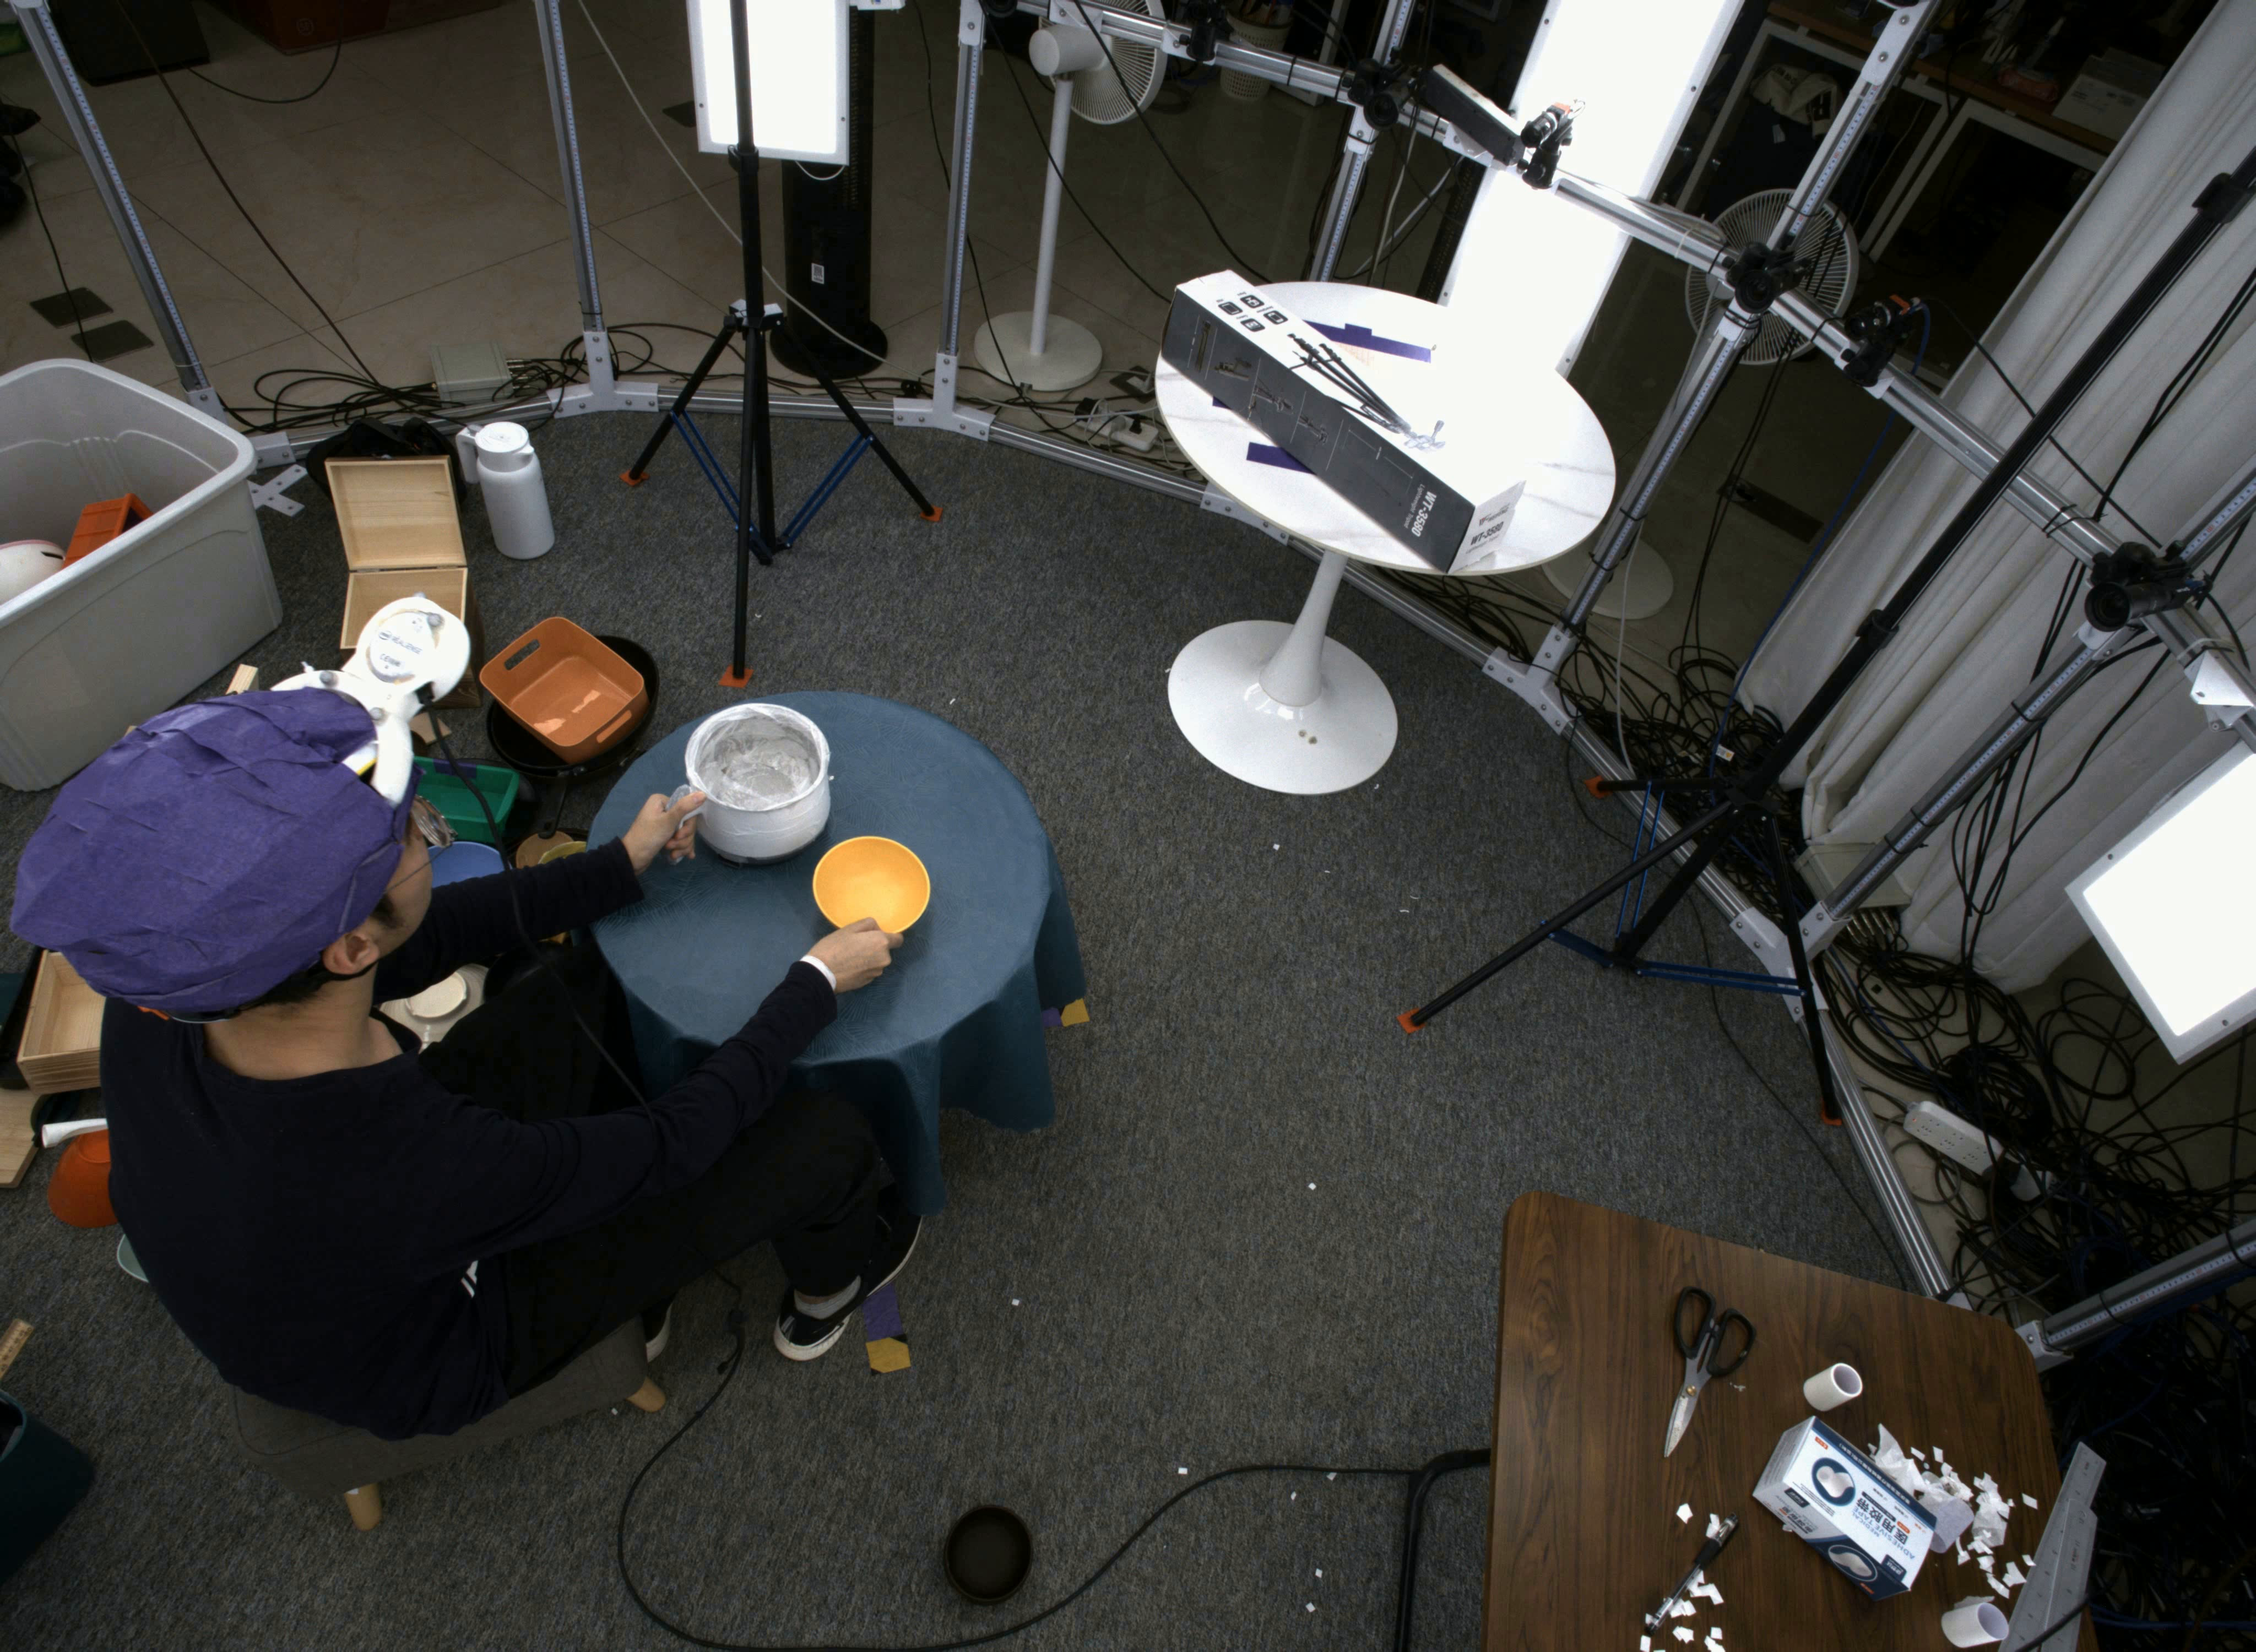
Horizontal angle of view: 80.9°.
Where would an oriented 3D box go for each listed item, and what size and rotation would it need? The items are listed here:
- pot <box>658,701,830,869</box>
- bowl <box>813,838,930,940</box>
[{"bbox_3d":[-0.496,-0.040,1.656,0.234,0.140,0.174,-32,63,-33],"label":"pot"},{"bbox_3d":[-0.327,0.089,1.650,0.145,0.061,0.143,9,55,-12],"label":"bowl"}]
